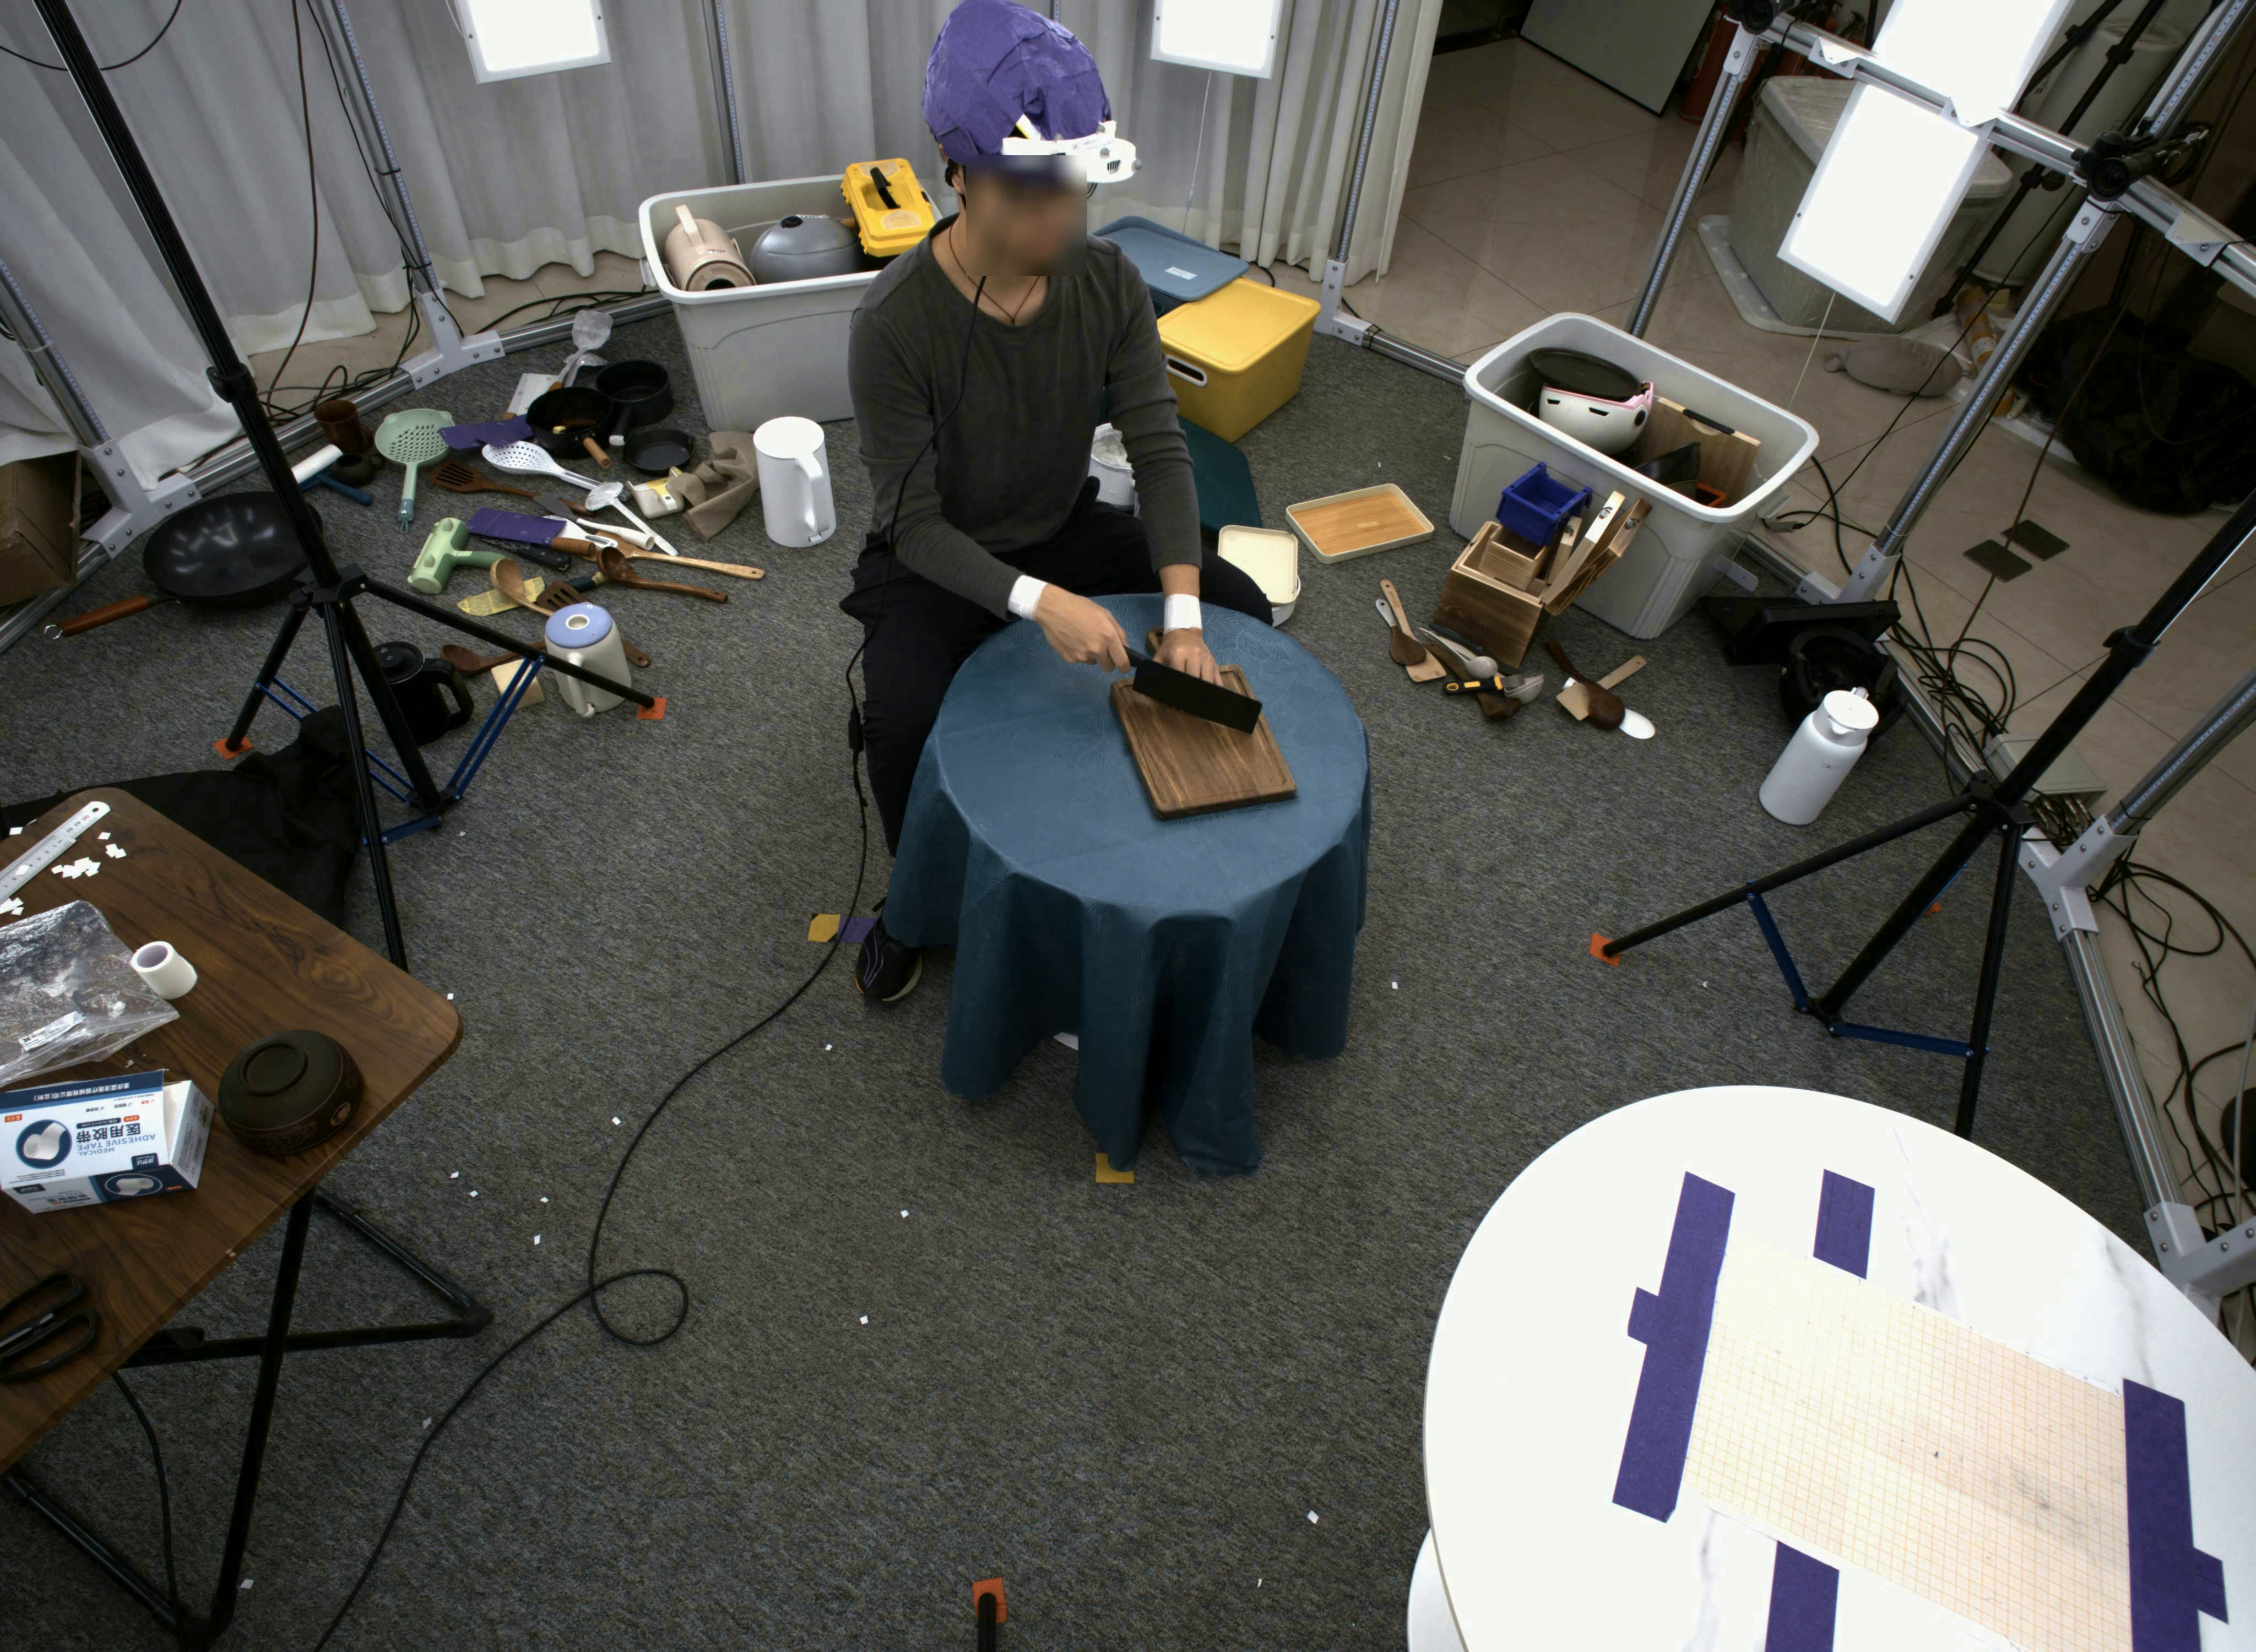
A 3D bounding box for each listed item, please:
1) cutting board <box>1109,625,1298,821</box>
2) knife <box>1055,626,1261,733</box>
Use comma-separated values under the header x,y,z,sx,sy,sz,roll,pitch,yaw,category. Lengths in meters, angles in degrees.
x,y,z,sx,sy,sz,roll,pitch,yaw,category
0.088,-0.159,1.797,0.201,0.022,0.361,-9,50,-13,cutting board
0.039,-0.203,1.767,0.303,0.079,0.021,25,48,5,knife
